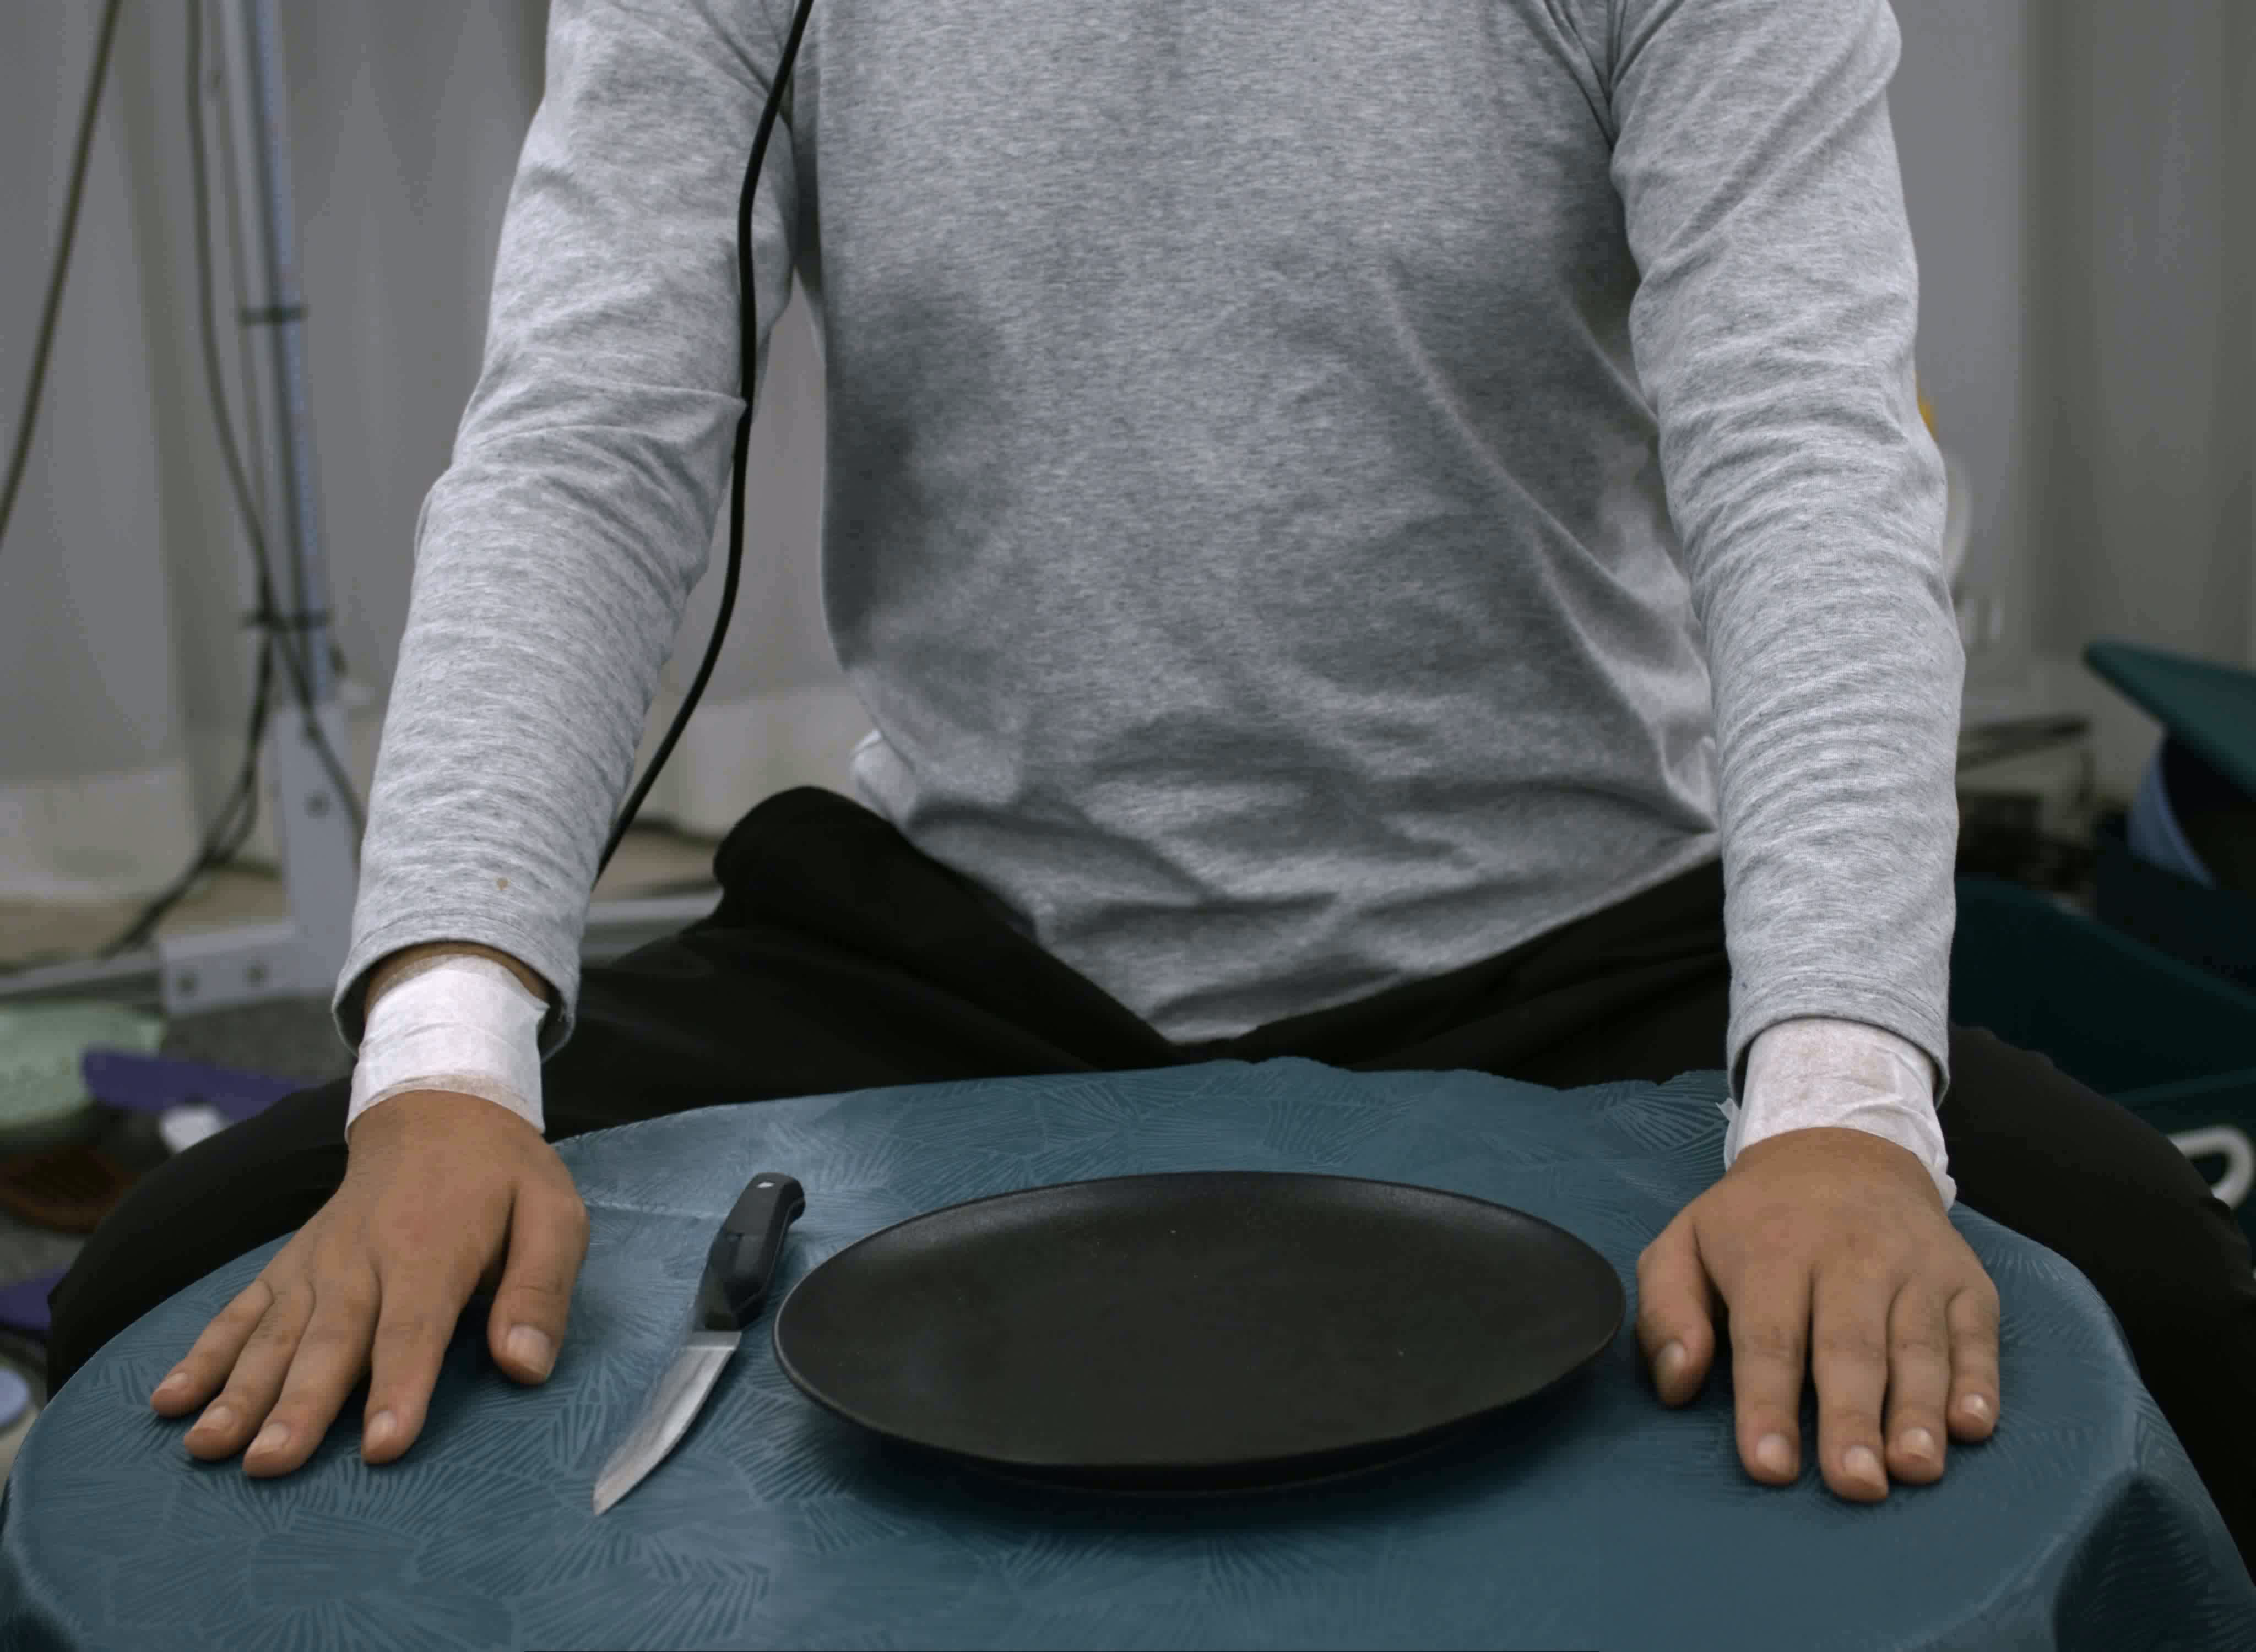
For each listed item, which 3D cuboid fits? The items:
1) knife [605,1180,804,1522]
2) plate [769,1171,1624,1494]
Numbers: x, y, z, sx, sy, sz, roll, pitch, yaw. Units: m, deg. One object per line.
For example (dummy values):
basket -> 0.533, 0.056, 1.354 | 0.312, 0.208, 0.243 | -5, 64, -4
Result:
knife -> -0.125, 0.151, 1.583 | 0.024, 0.016, 0.240 | -1, 17, 8
plate -> 0.019, 0.146, 1.552 | 0.243, 0.023, 0.246 | -3, 15, 0
